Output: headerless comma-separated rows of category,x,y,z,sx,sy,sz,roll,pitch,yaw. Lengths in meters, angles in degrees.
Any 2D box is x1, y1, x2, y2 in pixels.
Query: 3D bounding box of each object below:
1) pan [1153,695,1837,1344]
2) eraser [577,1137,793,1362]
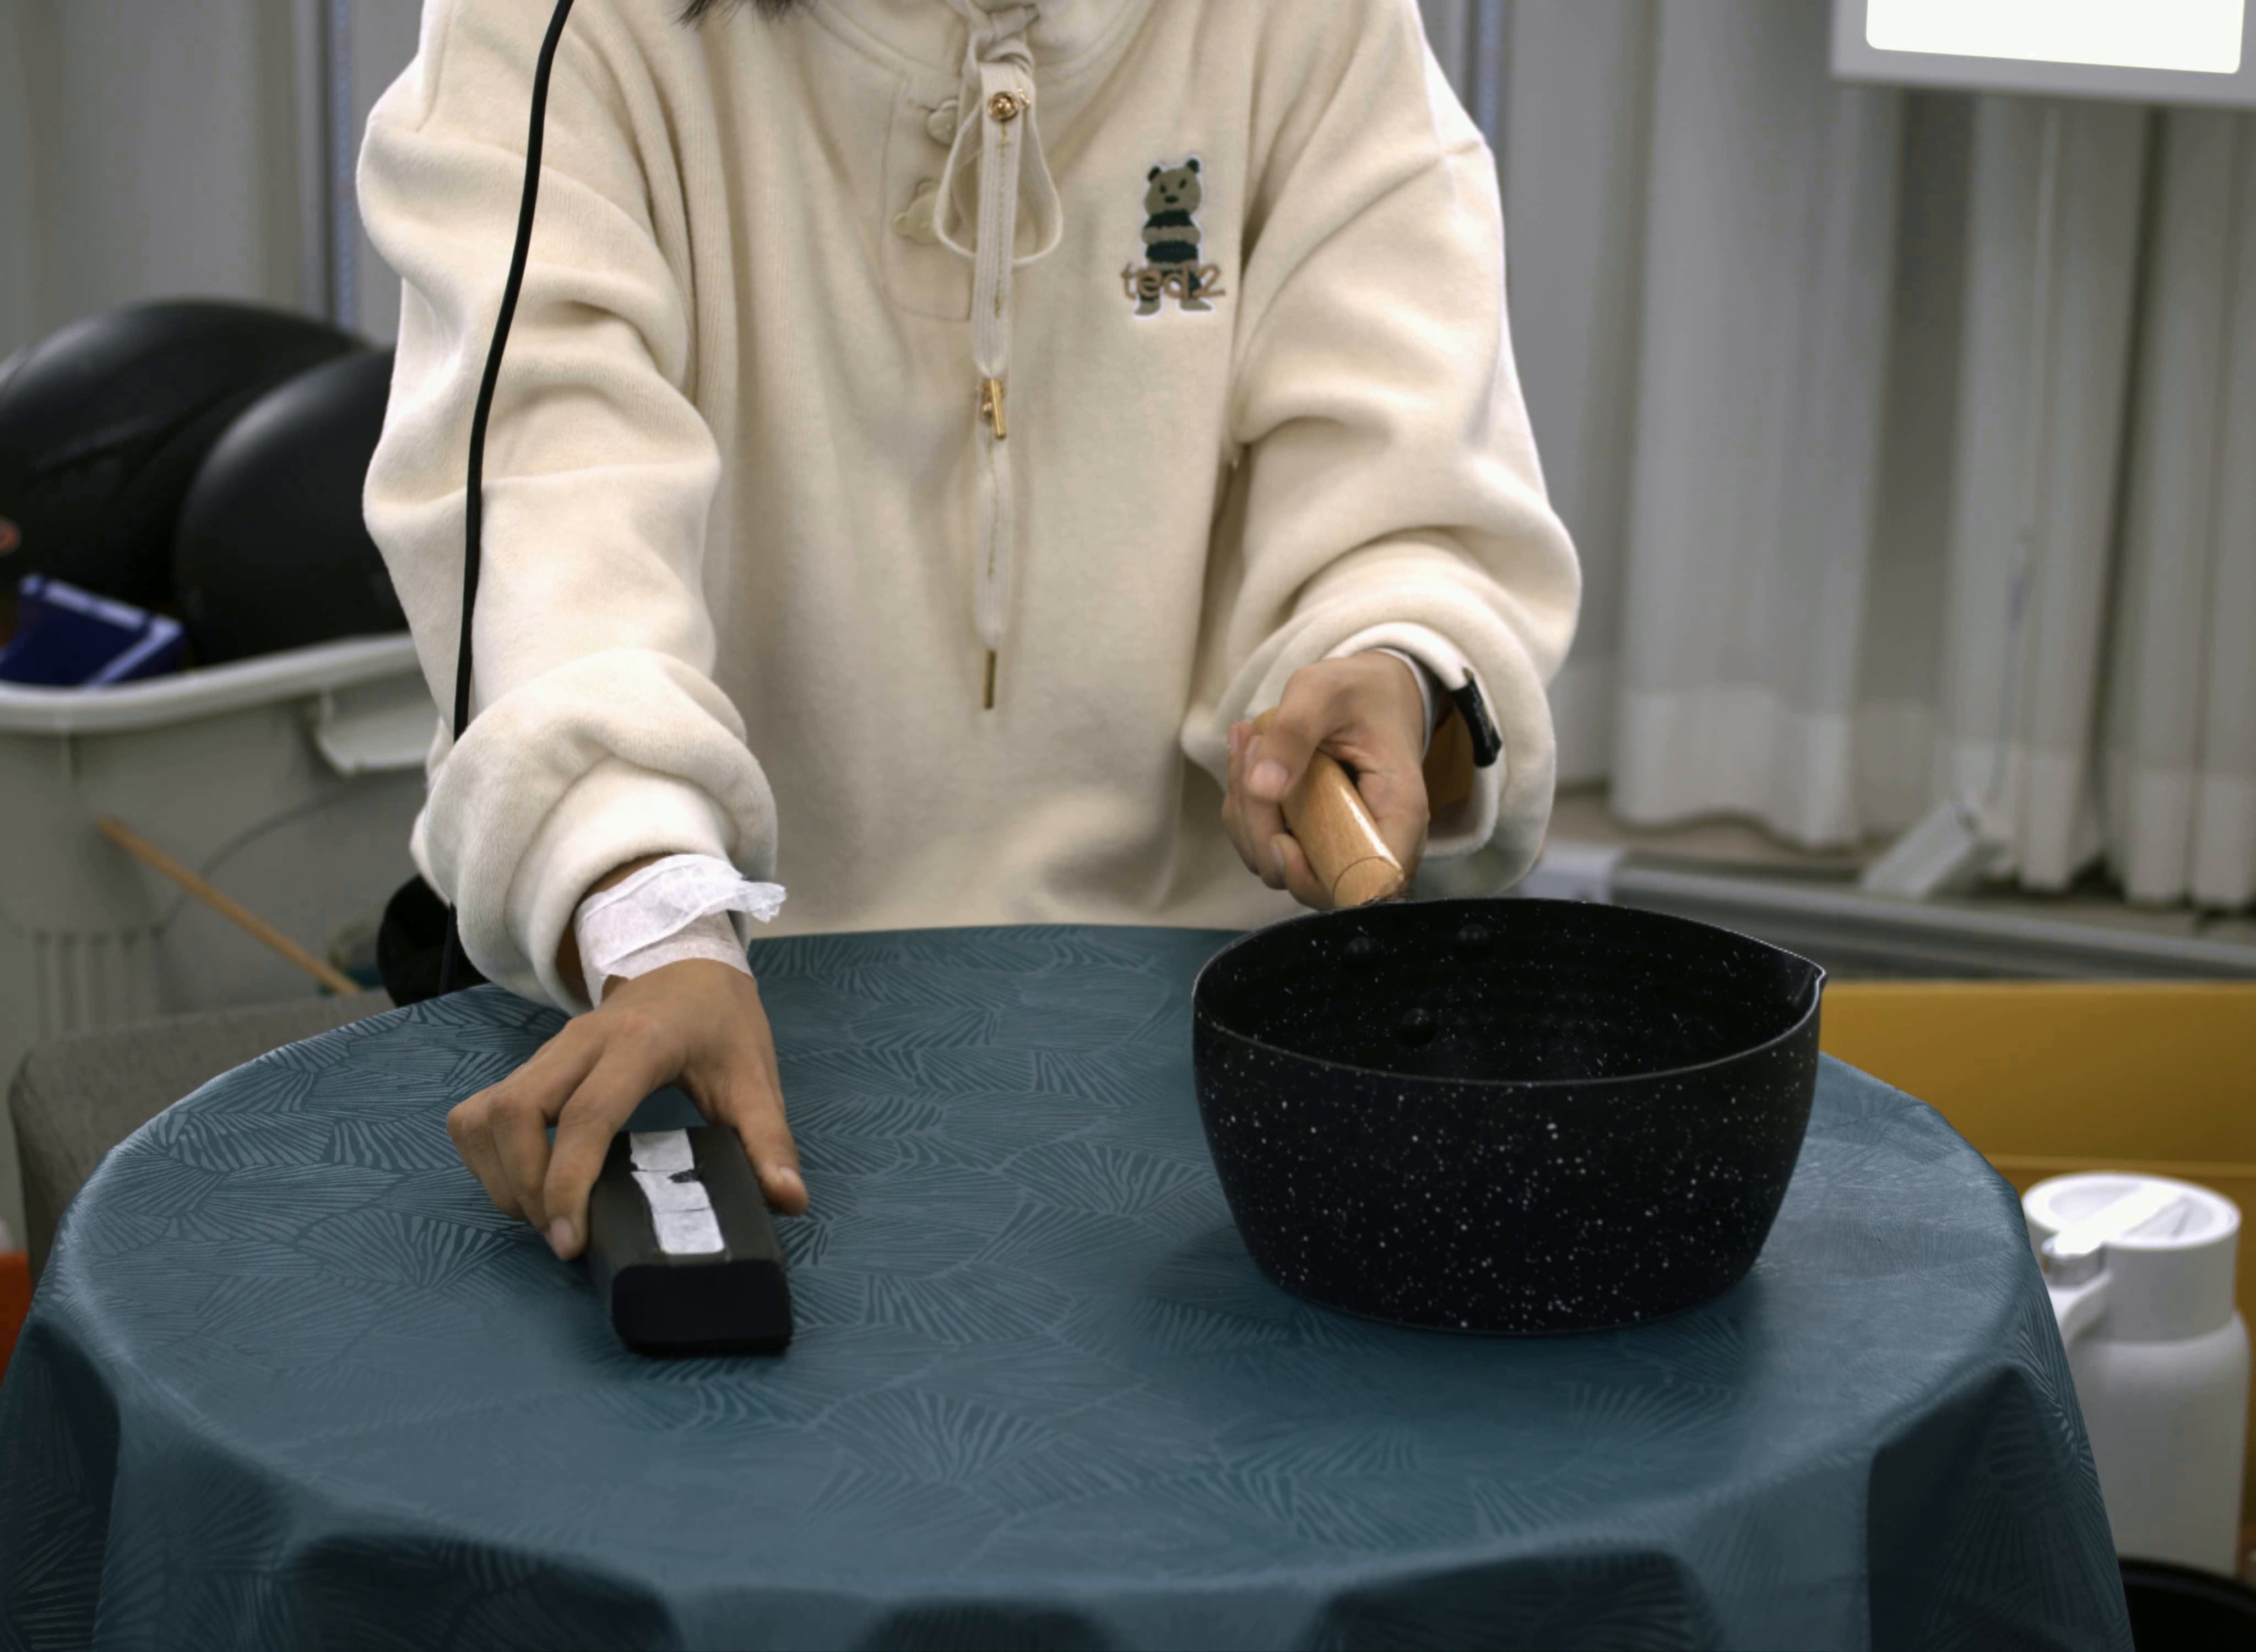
pan,0.091,0.054,1.628,0.208,0.109,0.339,-5,18,-15
eraser,-0.130,0.122,1.532,0.053,0.031,0.124,-2,14,-10
